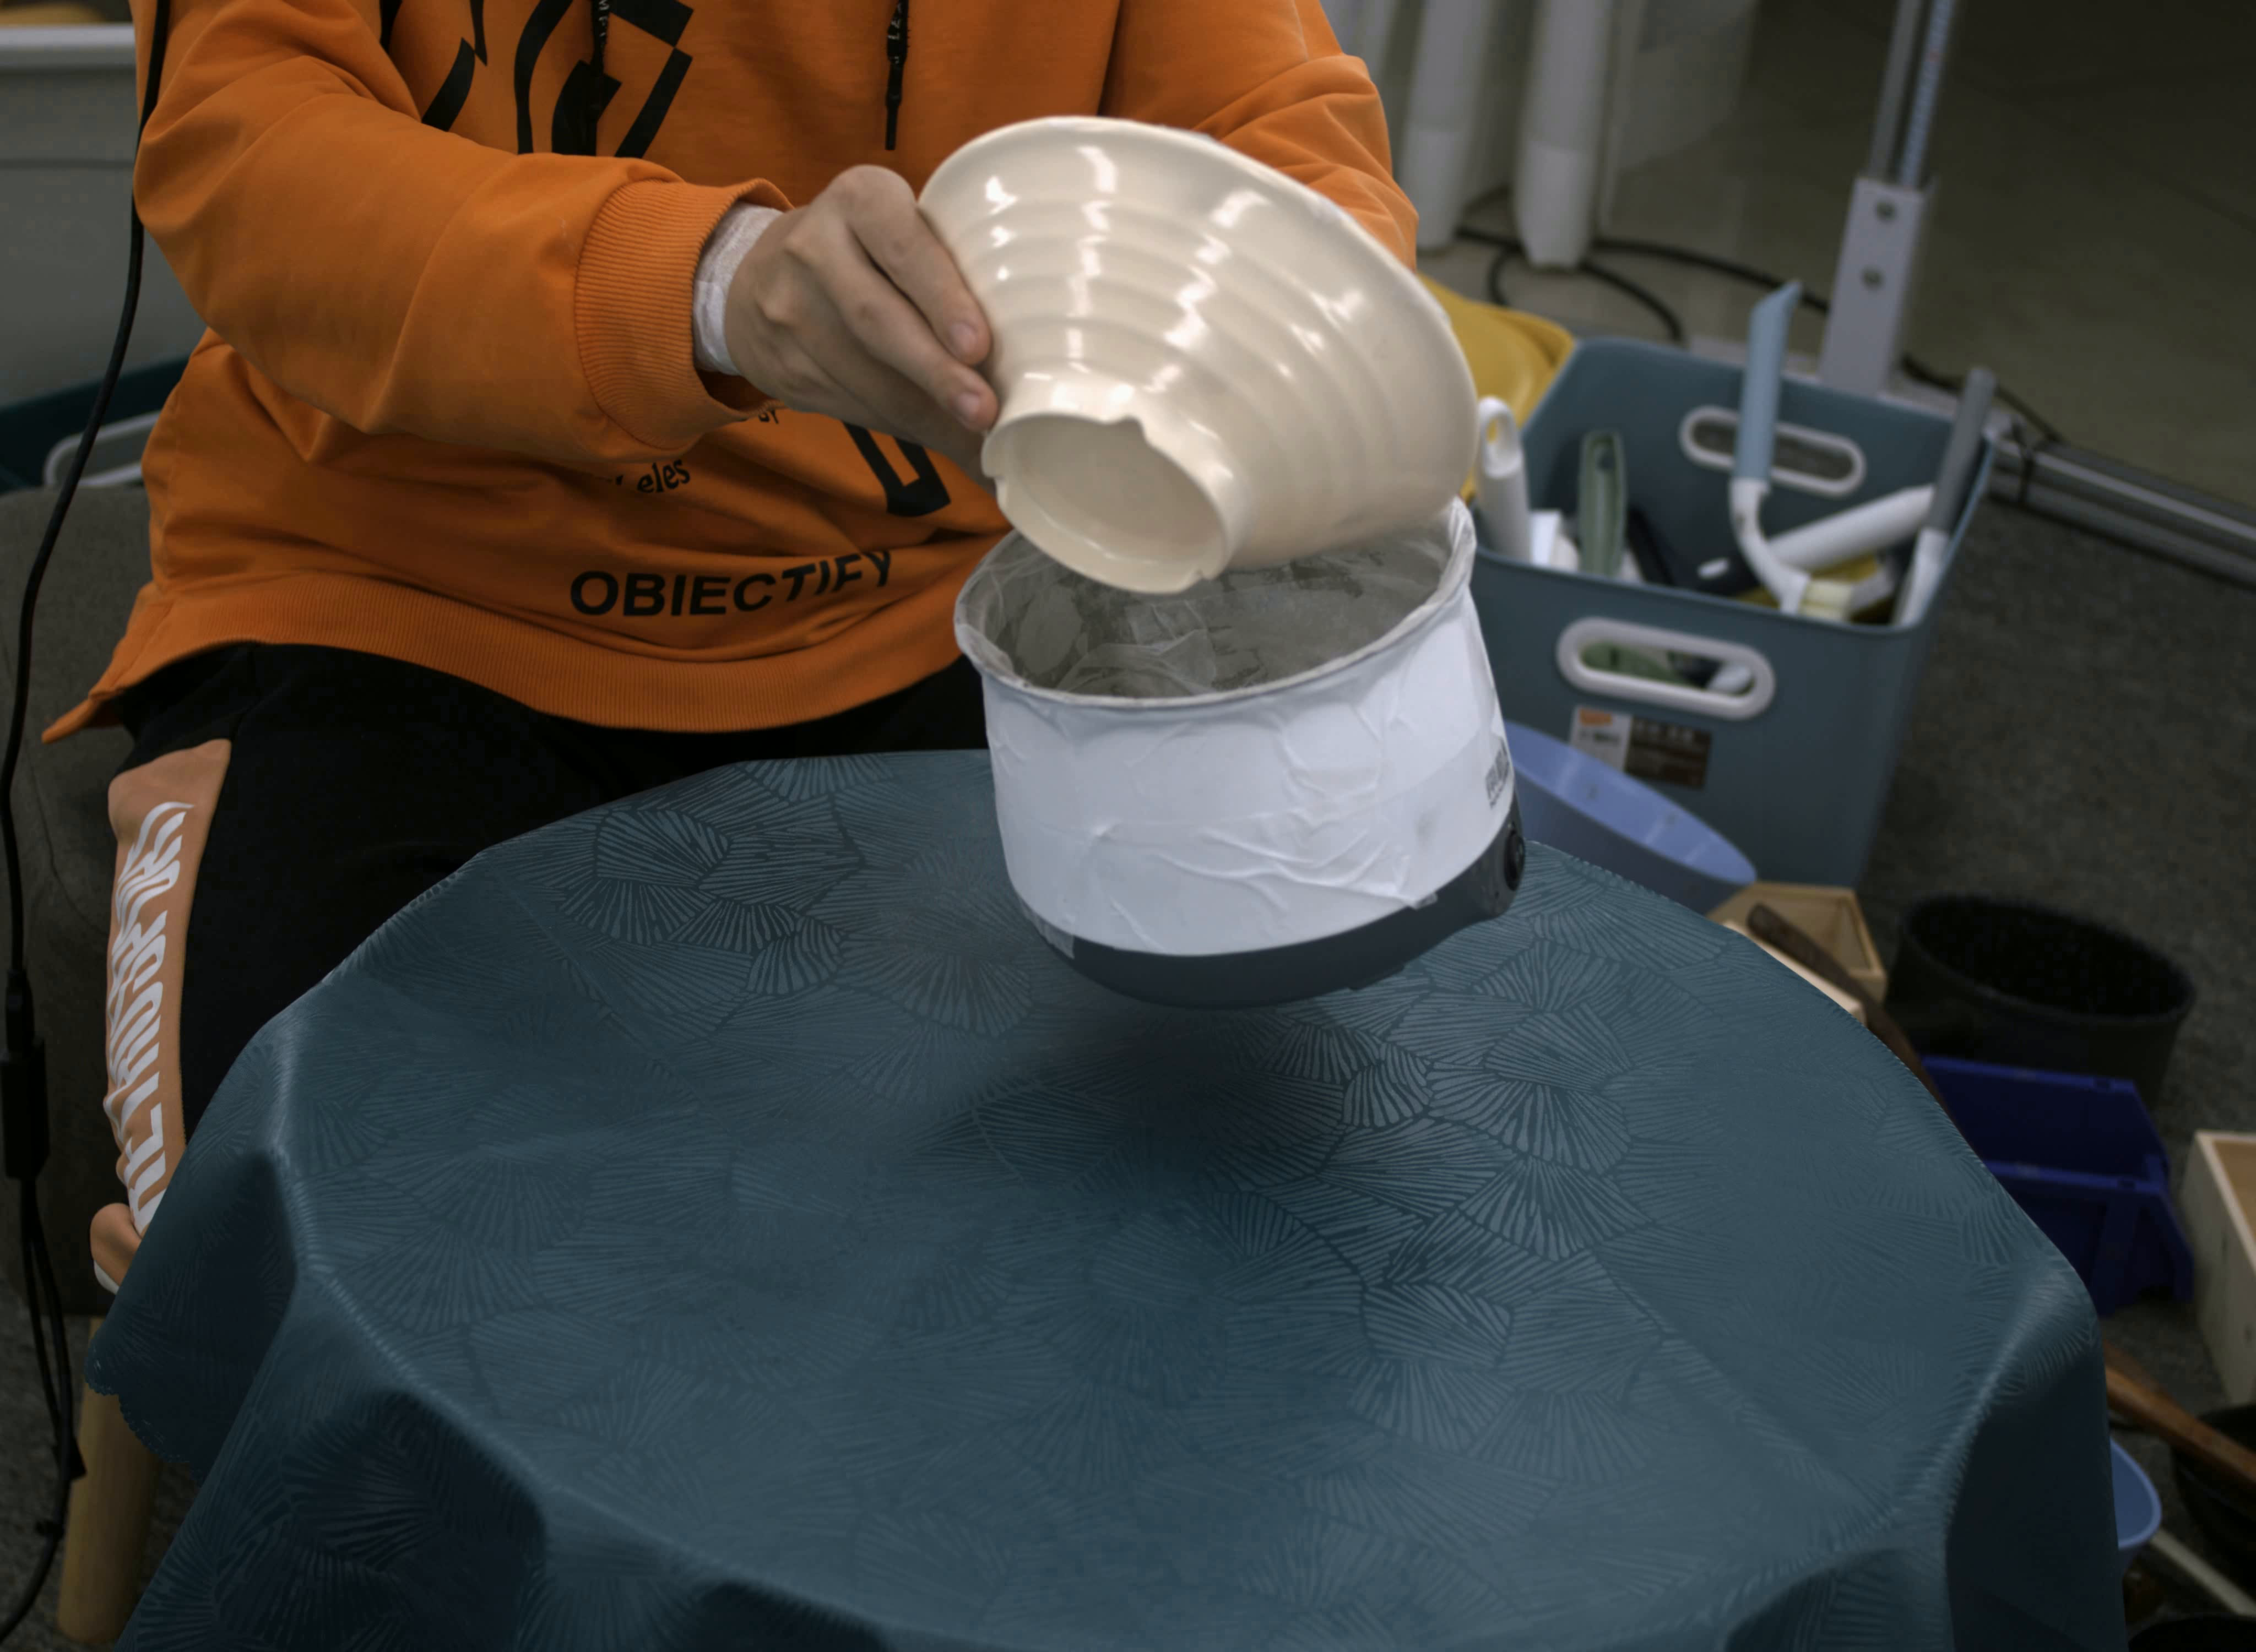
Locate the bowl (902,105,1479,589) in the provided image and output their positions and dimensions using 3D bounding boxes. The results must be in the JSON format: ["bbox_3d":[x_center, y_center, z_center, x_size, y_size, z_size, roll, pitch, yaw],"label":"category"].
[{"bbox_3d":[0.007,-0.134,1.732,0.204,0.202,0.078,15,56,16],"label":"bowl"}]

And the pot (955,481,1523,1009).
[{"bbox_3d":[0.046,-0.046,1.826,0.179,0.136,0.234,-1,31,17],"label":"pot"}]
